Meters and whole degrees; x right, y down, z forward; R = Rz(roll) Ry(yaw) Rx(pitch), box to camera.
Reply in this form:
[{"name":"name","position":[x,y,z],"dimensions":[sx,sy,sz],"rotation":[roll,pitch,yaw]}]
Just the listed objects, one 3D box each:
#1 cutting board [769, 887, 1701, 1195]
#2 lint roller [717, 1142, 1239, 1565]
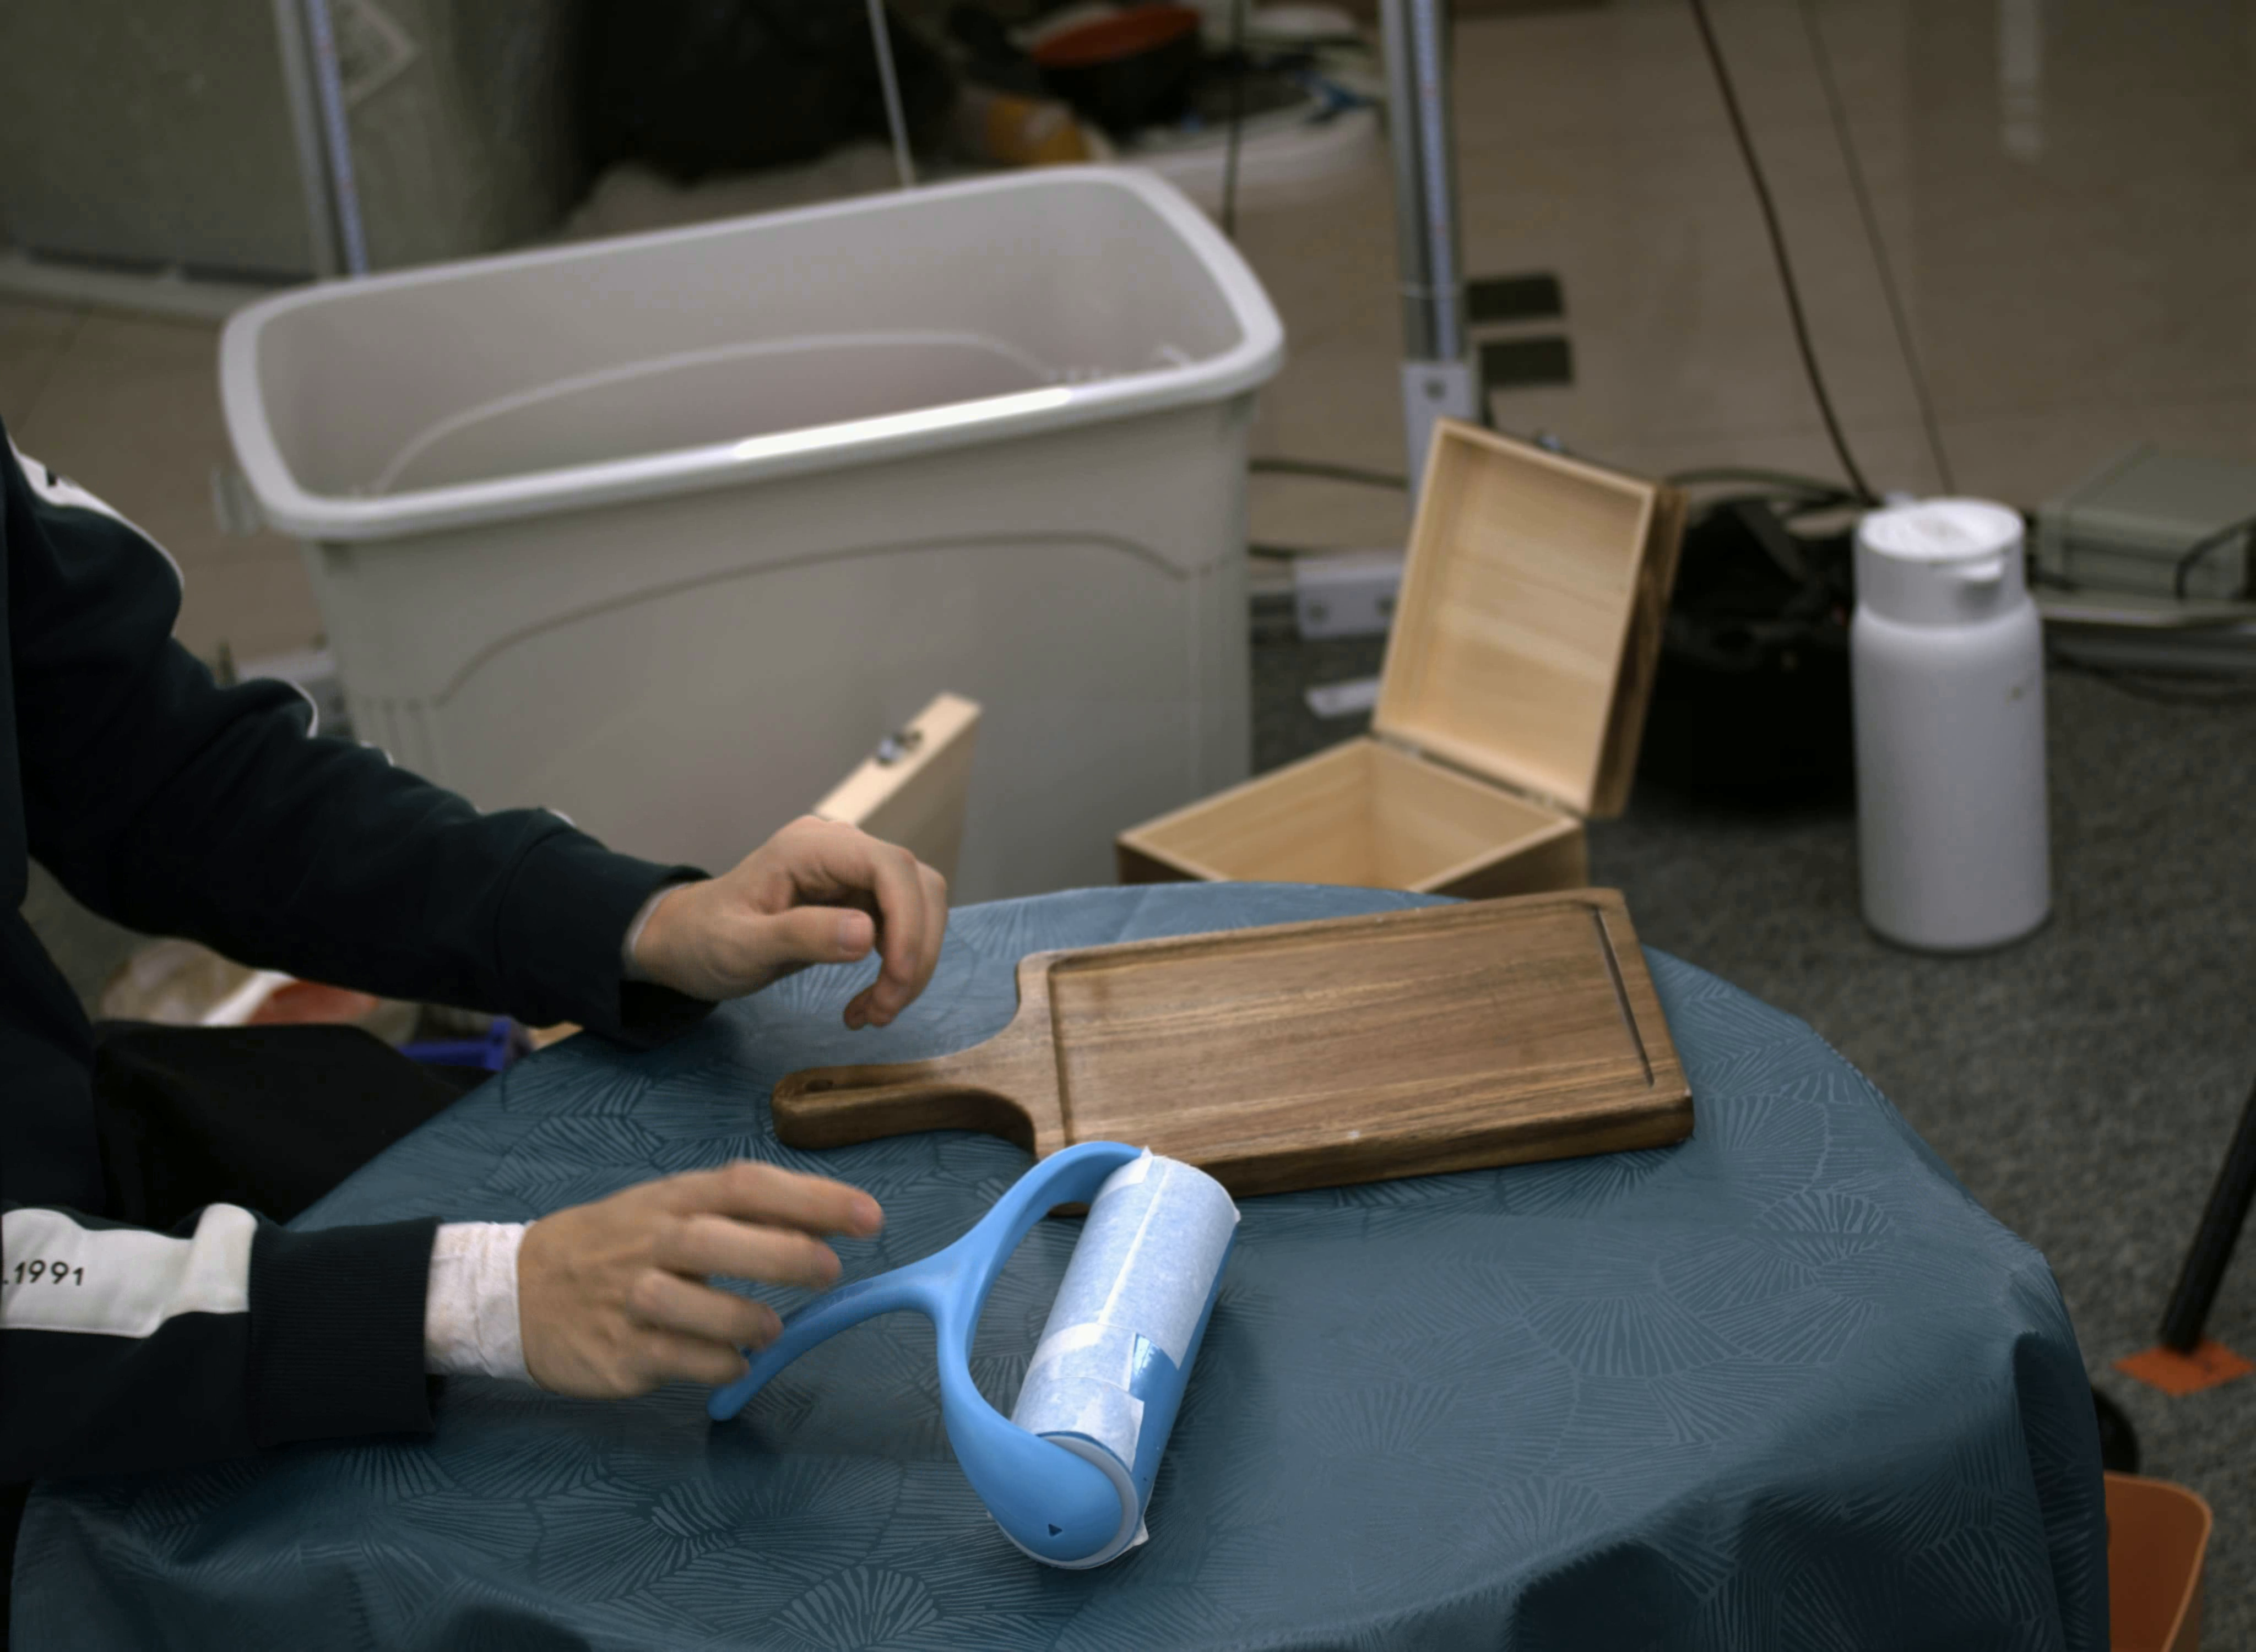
[{"name":"cutting board","position":[0.035,0.091,2.212],"dimensions":[0.351,0.023,0.198],"rotation":[-7,24,-1]},{"name":"lint roller","position":[-0.061,0.185,1.993],"dimensions":[0.180,0.069,0.225],"rotation":[-1,27,9]}]
